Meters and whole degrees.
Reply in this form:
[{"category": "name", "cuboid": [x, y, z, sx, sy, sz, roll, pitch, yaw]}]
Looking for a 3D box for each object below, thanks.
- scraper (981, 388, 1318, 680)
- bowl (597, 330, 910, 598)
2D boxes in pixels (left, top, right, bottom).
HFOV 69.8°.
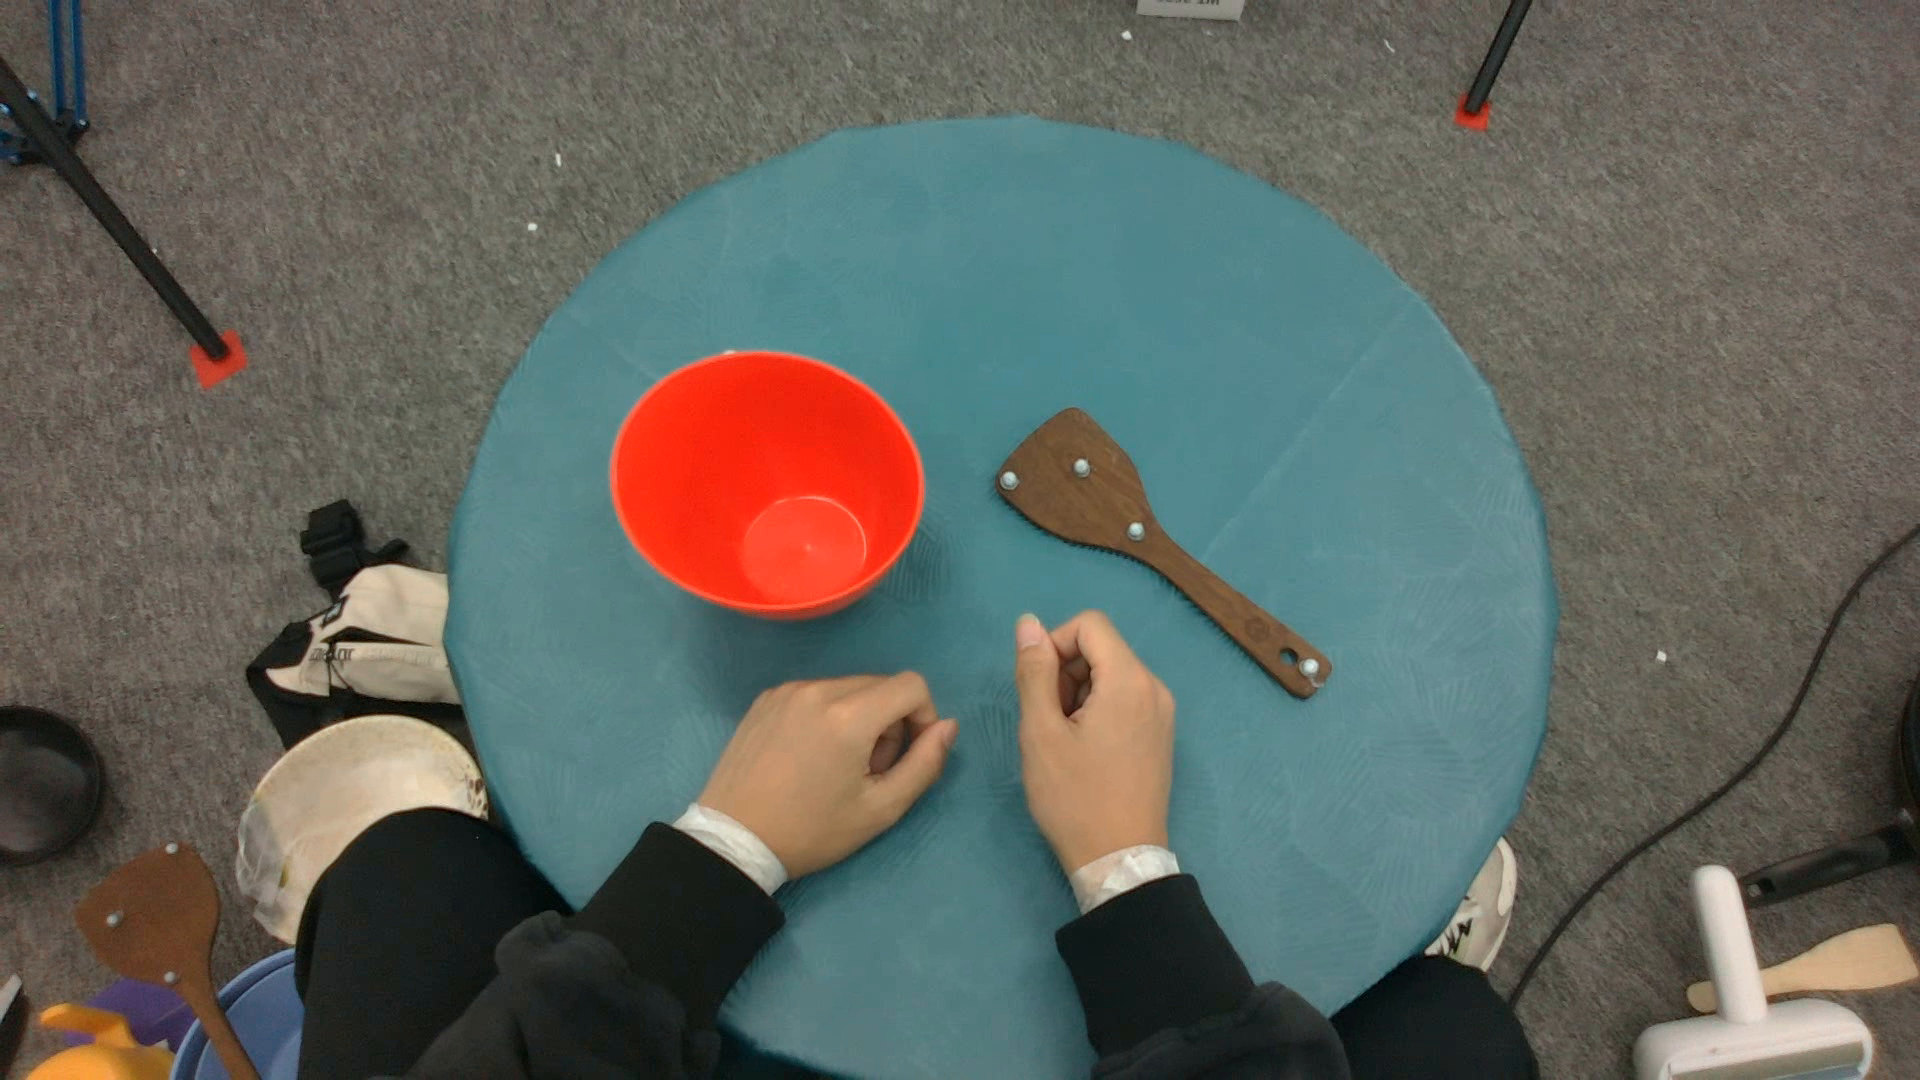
[{"category": "scraper", "cuboid": [0.106, 0.000, 0.749, 0.211, 0.011, 0.076, 41, 69, 16]}, {"category": "bowl", "cuboid": [-0.100, -0.024, 0.700, 0.148, 0.104, 0.148, 1, 63, -2]}]
